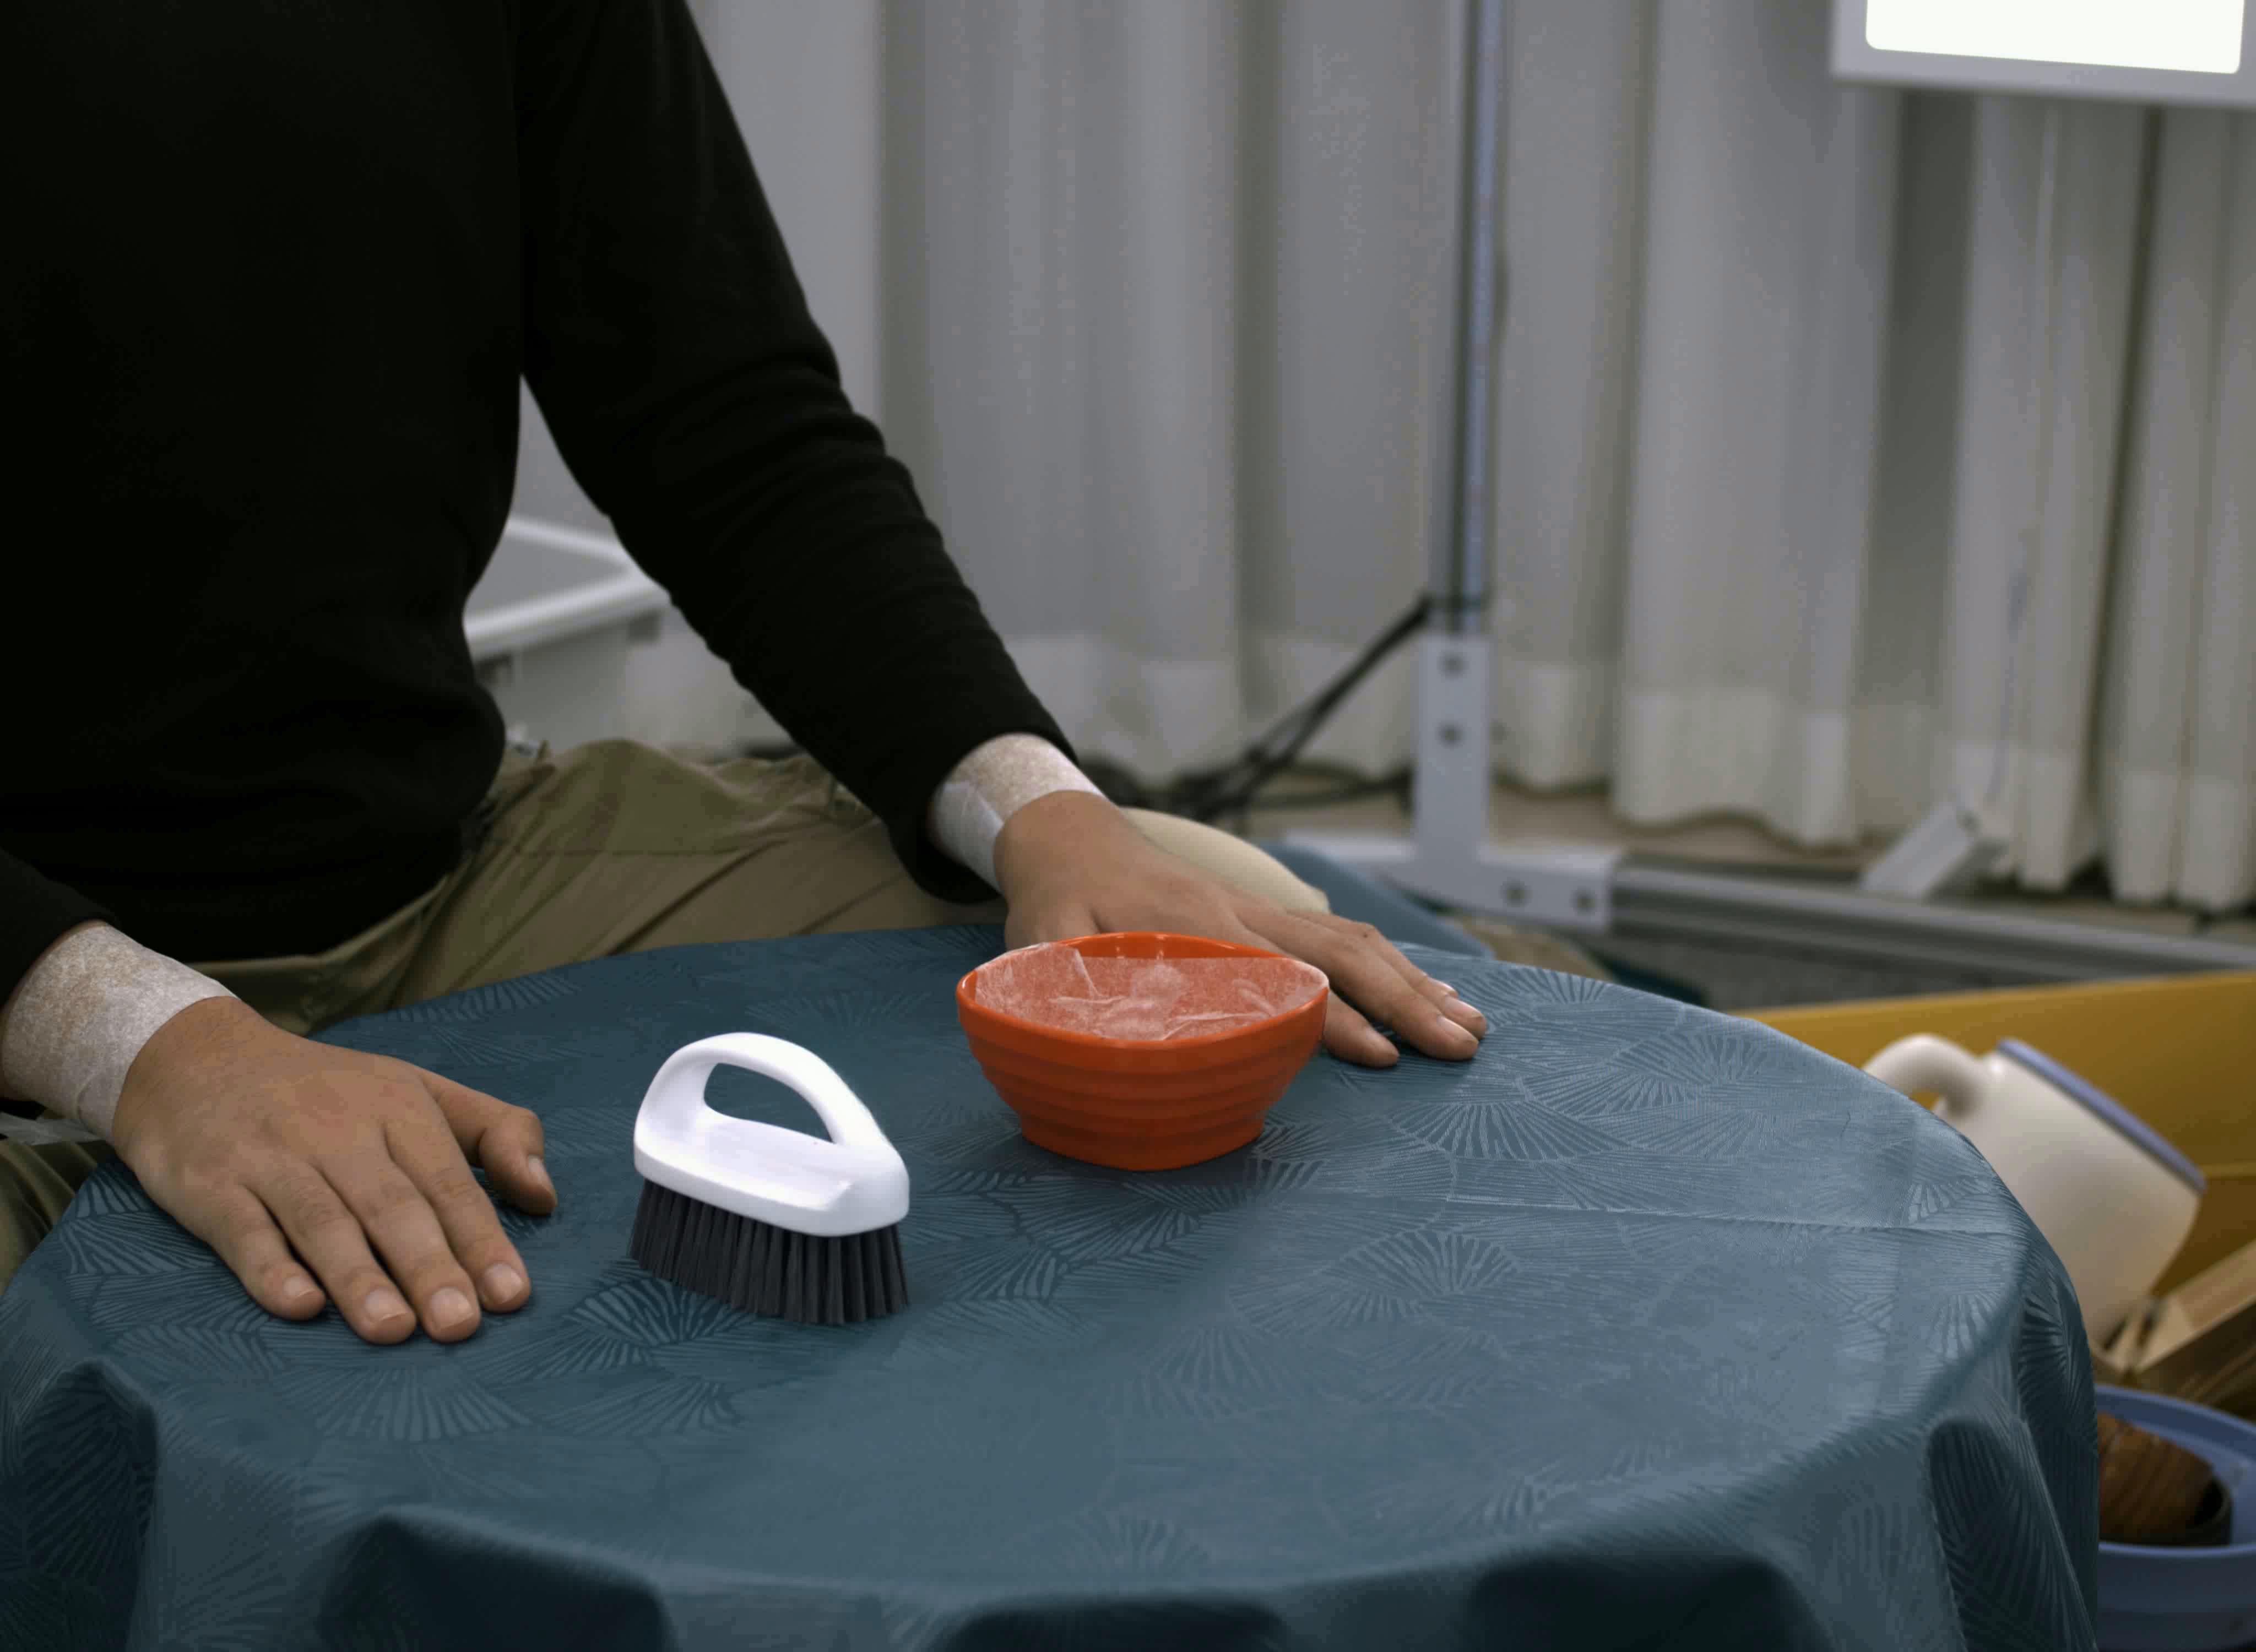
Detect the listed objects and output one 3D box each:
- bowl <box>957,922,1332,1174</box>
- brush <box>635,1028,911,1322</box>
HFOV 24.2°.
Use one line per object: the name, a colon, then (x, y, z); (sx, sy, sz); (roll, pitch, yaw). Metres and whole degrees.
bowl: (0.005, 0.072, 1.666); (0.118, 0.052, 0.118); (1, 18, 0)
brush: (-0.105, 0.096, 1.536); (0.050, 0.073, 0.098); (-15, 22, -41)
